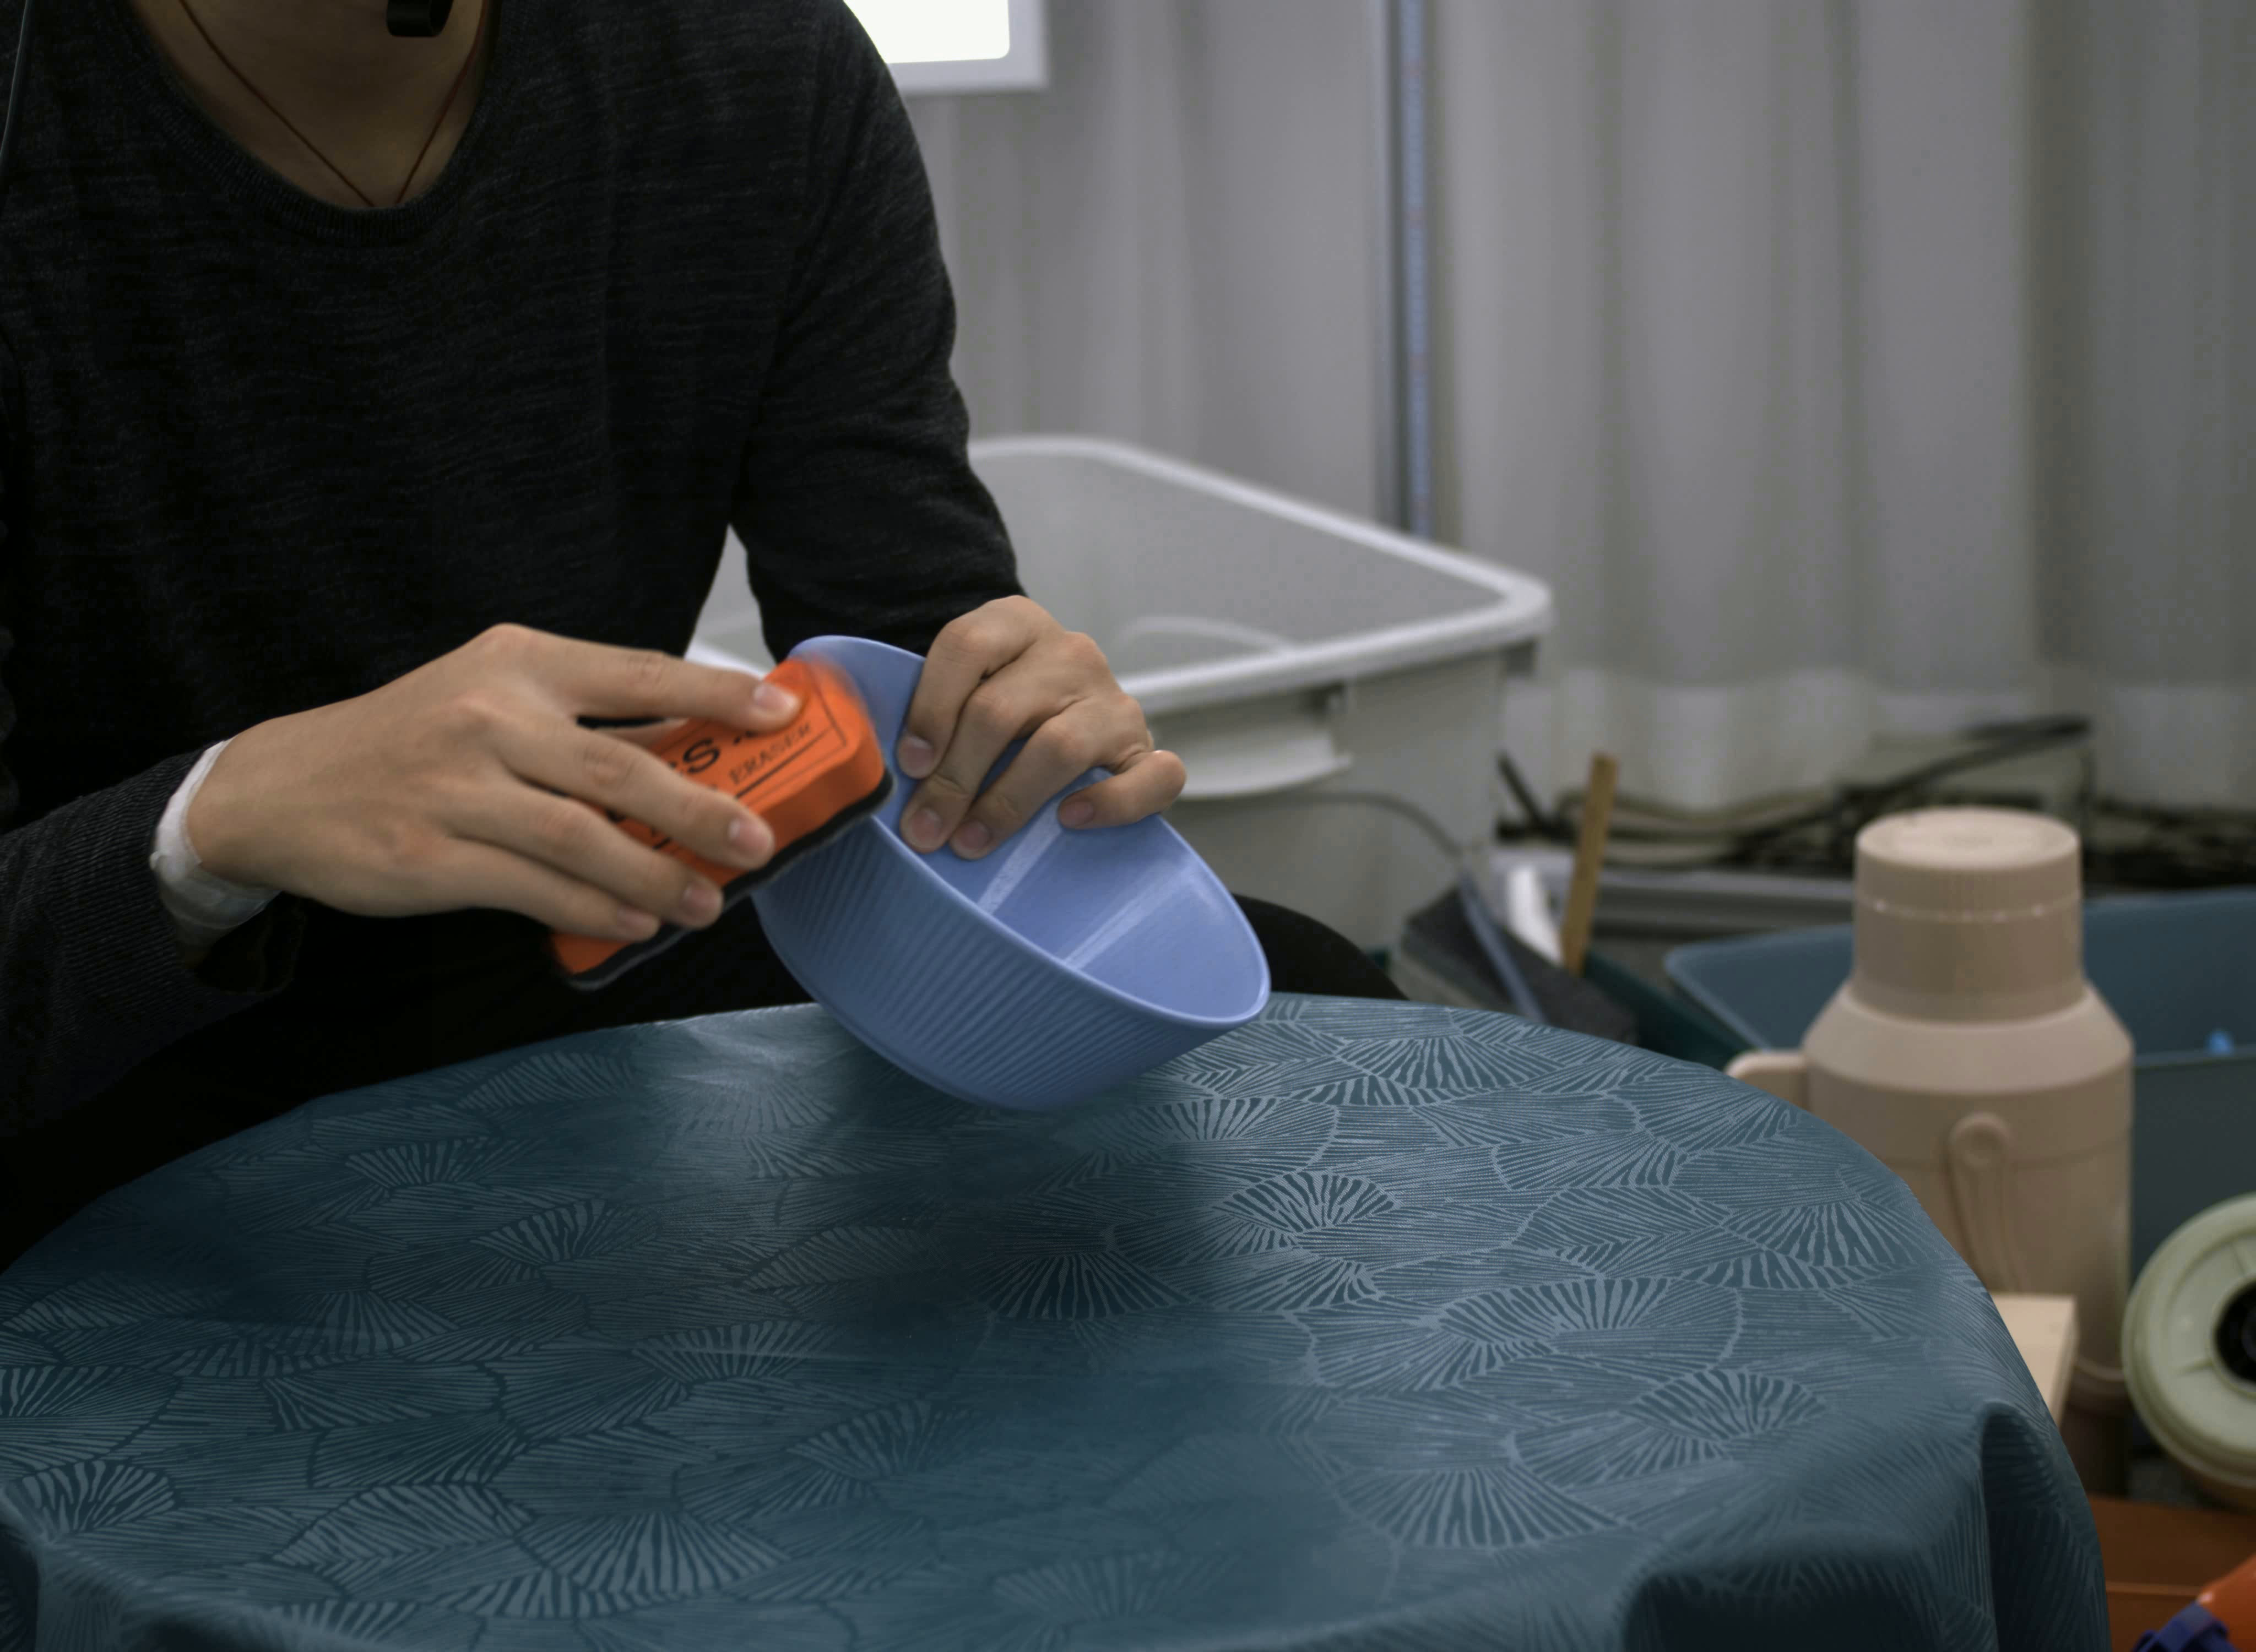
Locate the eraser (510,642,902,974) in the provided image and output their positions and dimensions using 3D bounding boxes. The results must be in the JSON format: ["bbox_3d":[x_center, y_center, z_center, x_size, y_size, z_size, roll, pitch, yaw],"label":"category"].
[{"bbox_3d":[-0.120,-0.005,1.548,0.108,0.022,0.060,-33,39,-1],"label":"eraser"}]

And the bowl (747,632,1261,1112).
[{"bbox_3d":[-0.048,0.024,1.637,0.175,0.070,0.178,33,18,-13],"label":"bowl"}]
